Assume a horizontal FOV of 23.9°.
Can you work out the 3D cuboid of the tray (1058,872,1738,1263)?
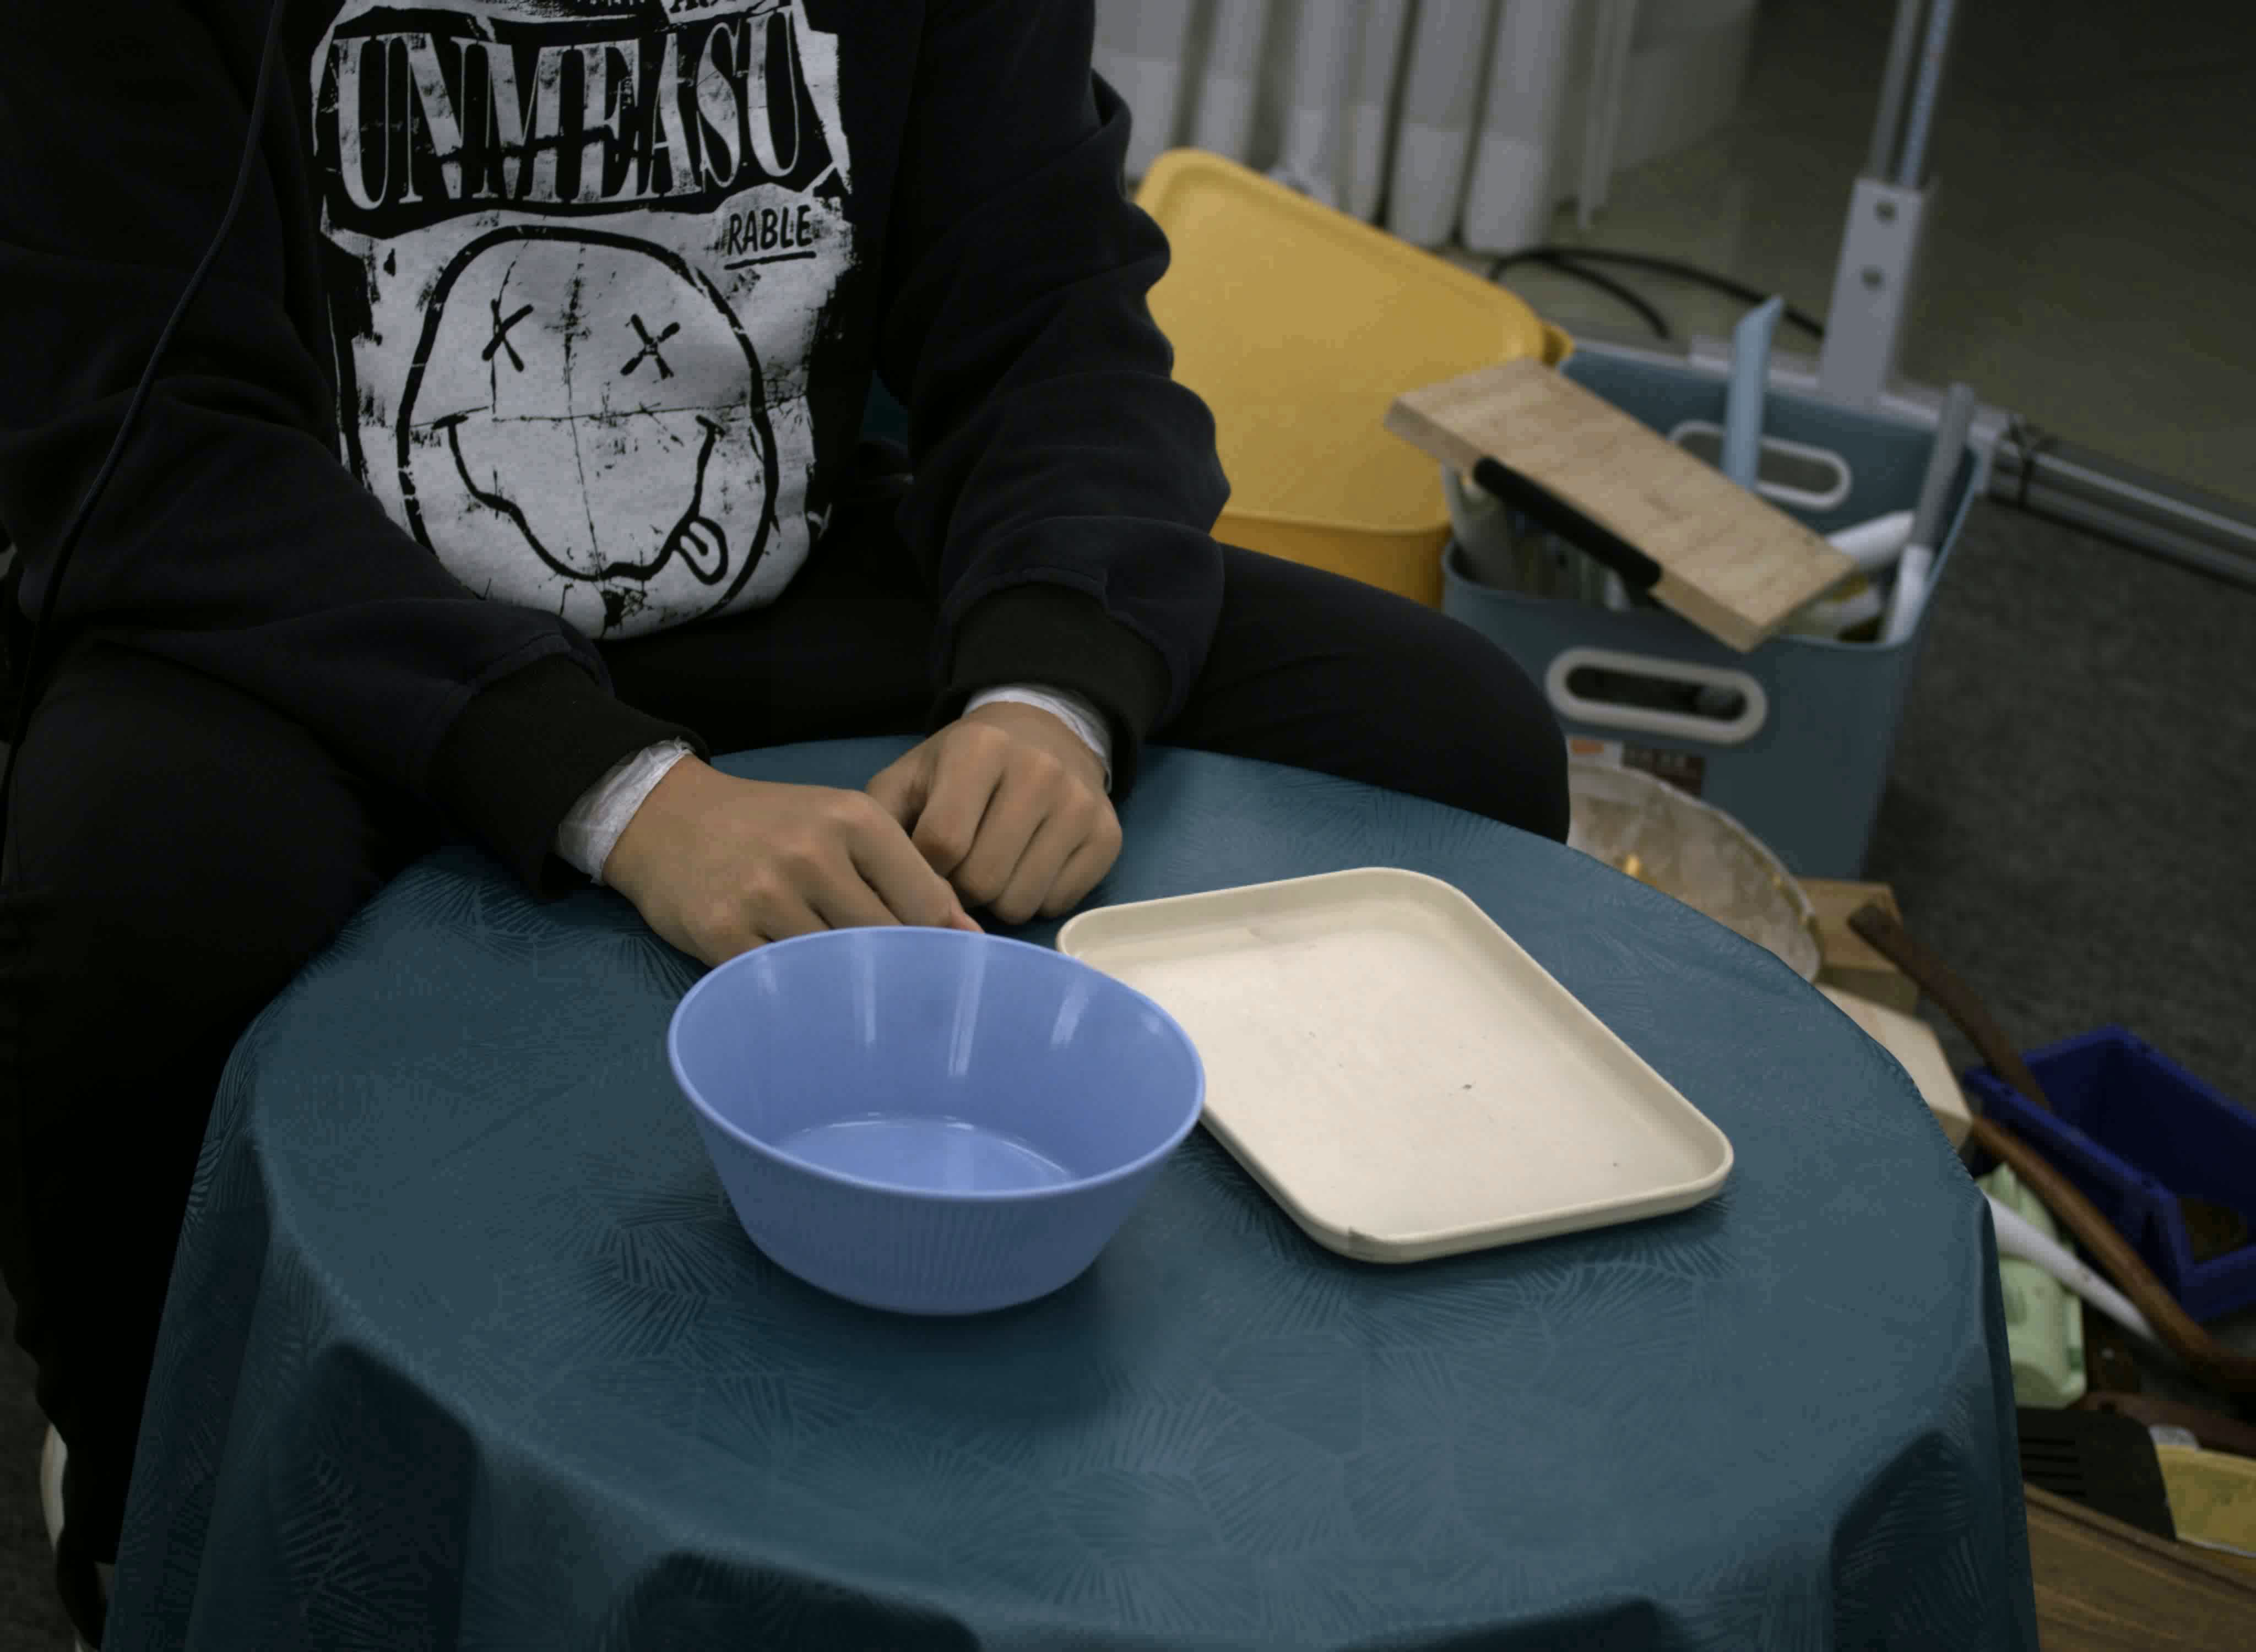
[{"bbox_3d":[0.092,0.084,1.880,0.170,0.017,0.242,-7,30,-26],"label":"tray"}]

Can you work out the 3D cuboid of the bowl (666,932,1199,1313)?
[{"bbox_3d":[-0.067,0.103,1.747,0.175,0.070,0.177,6,26,-3],"label":"bowl"}]
